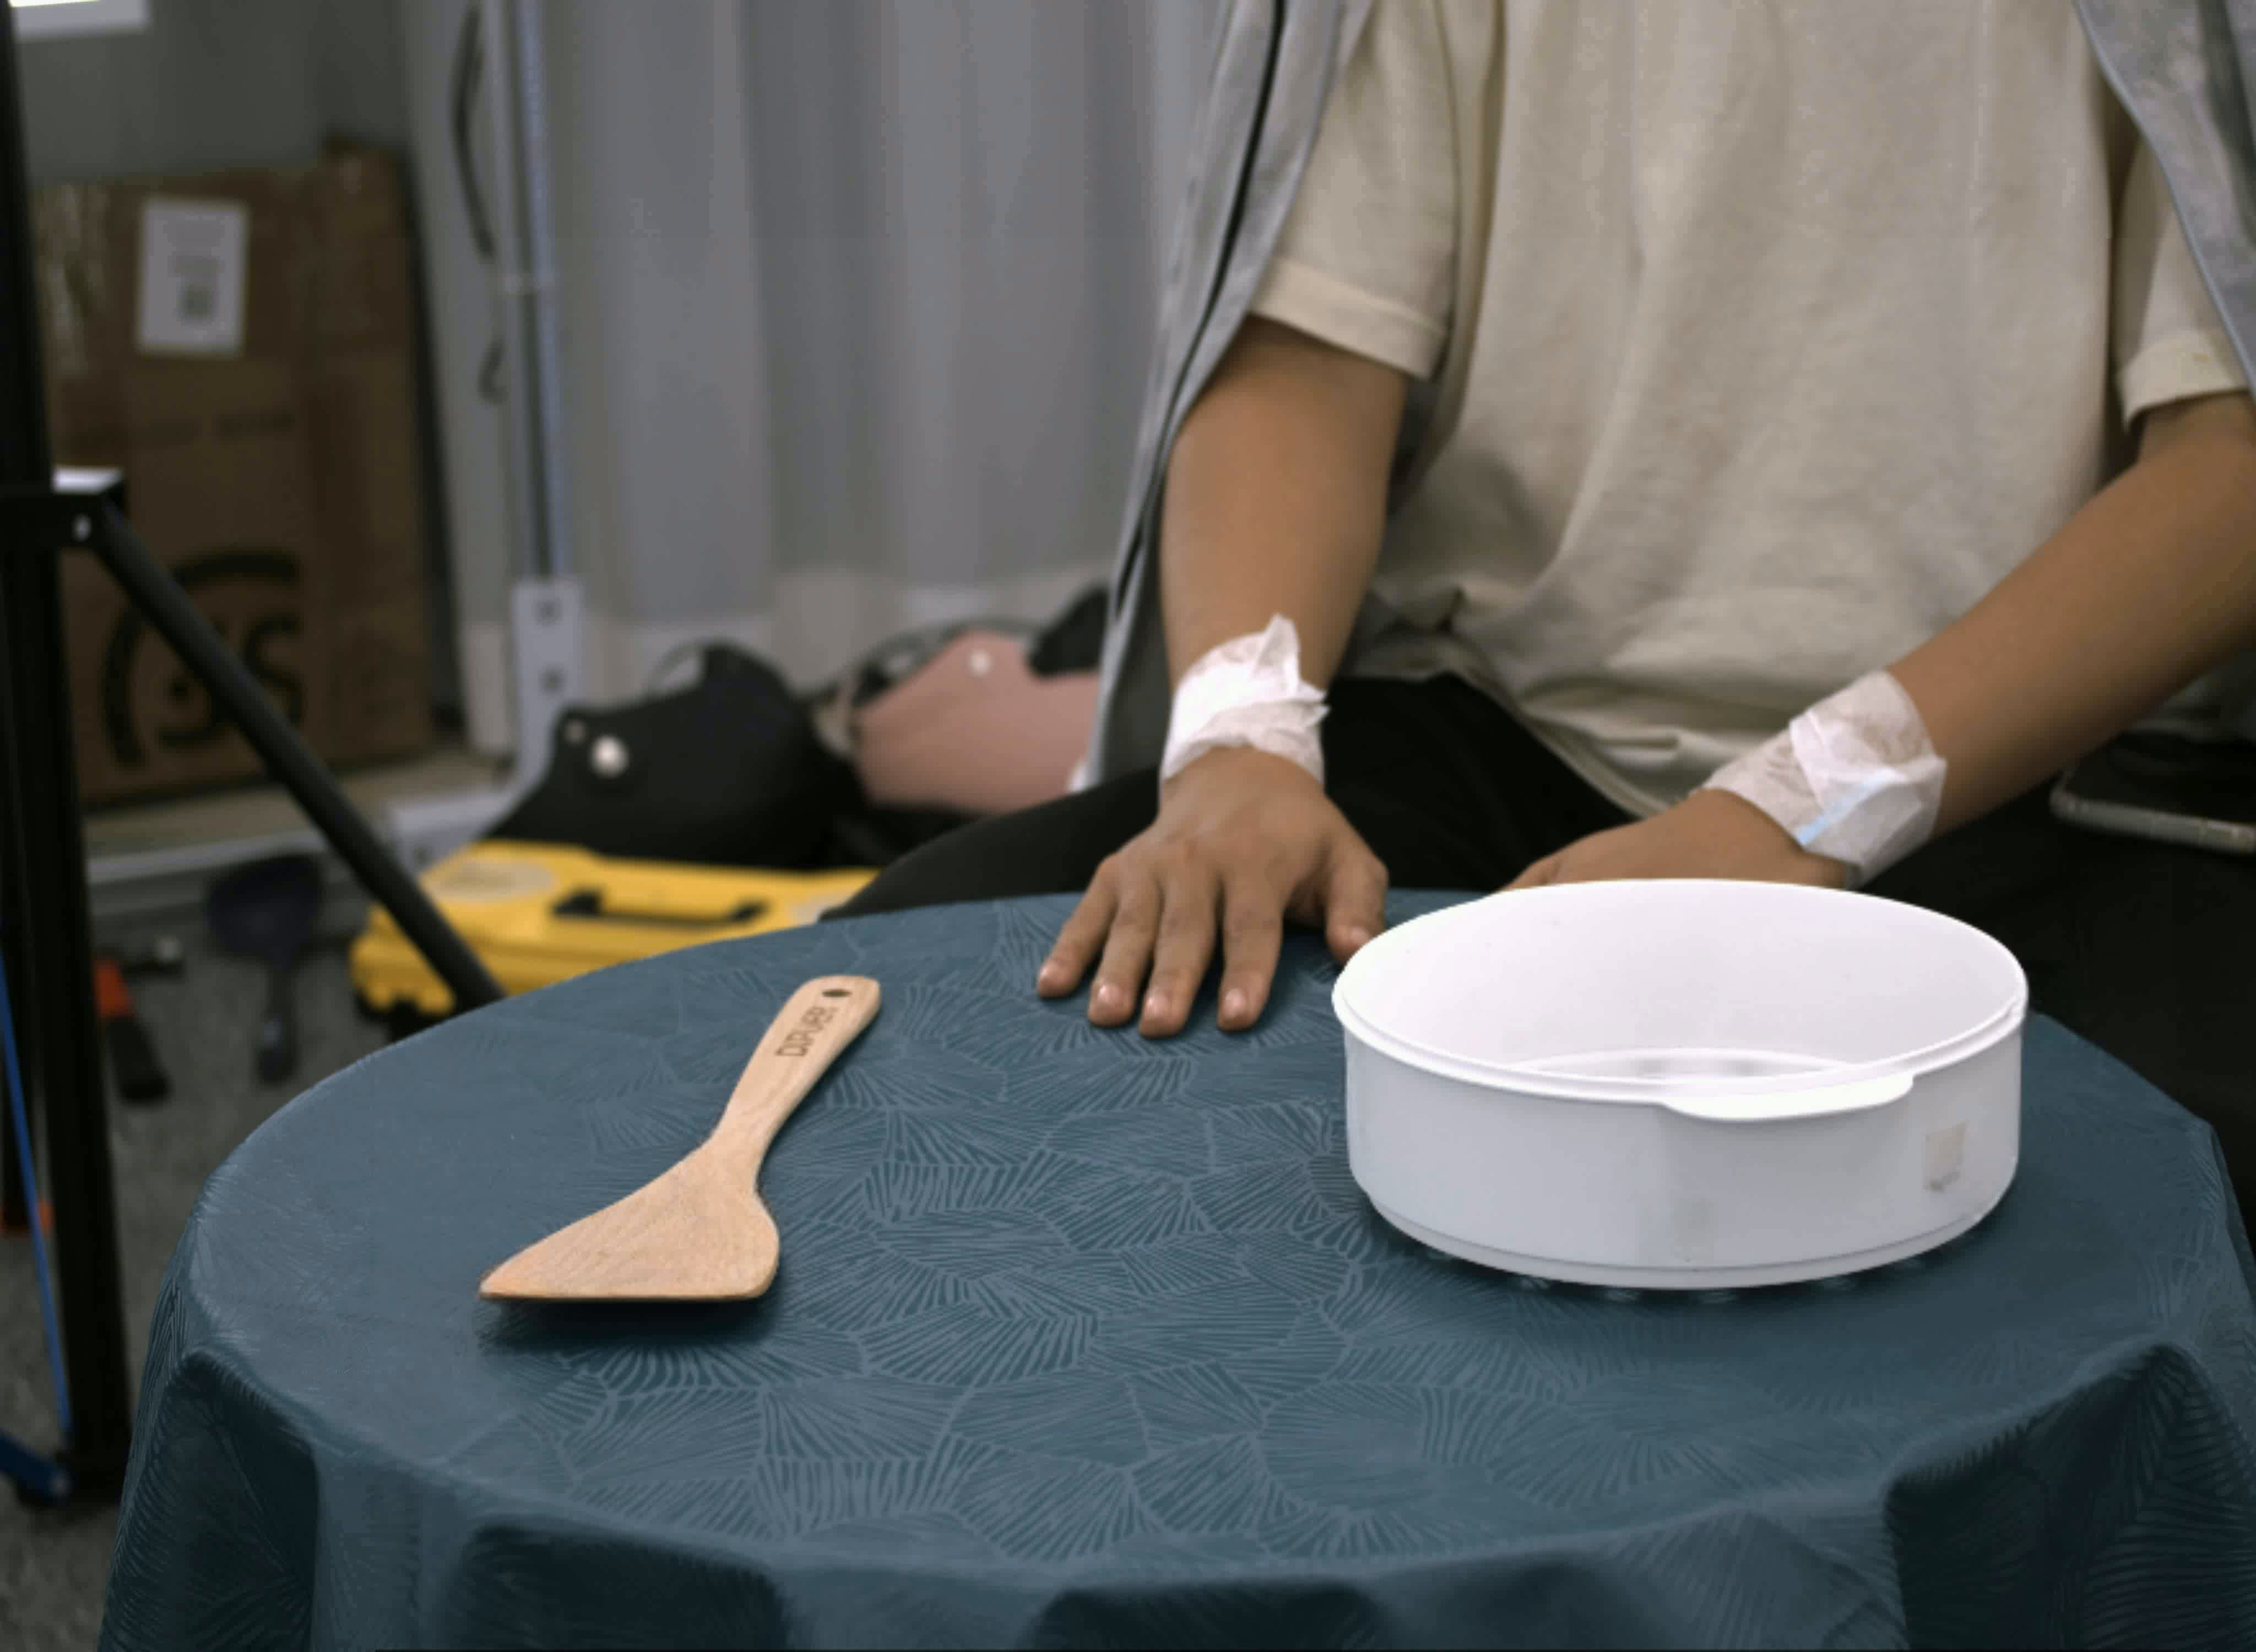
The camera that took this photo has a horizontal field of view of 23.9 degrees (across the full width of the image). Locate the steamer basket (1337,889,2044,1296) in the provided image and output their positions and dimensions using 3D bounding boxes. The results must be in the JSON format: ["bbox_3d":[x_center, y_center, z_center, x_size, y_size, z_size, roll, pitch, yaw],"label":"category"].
[{"bbox_3d":[0.161,0.076,1.519,0.199,0.069,0.233,-4,15,-10],"label":"steamer basket"}]

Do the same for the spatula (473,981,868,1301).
[{"bbox_3d":[-0.118,0.092,1.599,0.080,0.016,0.326,1,15,9],"label":"spatula"}]
